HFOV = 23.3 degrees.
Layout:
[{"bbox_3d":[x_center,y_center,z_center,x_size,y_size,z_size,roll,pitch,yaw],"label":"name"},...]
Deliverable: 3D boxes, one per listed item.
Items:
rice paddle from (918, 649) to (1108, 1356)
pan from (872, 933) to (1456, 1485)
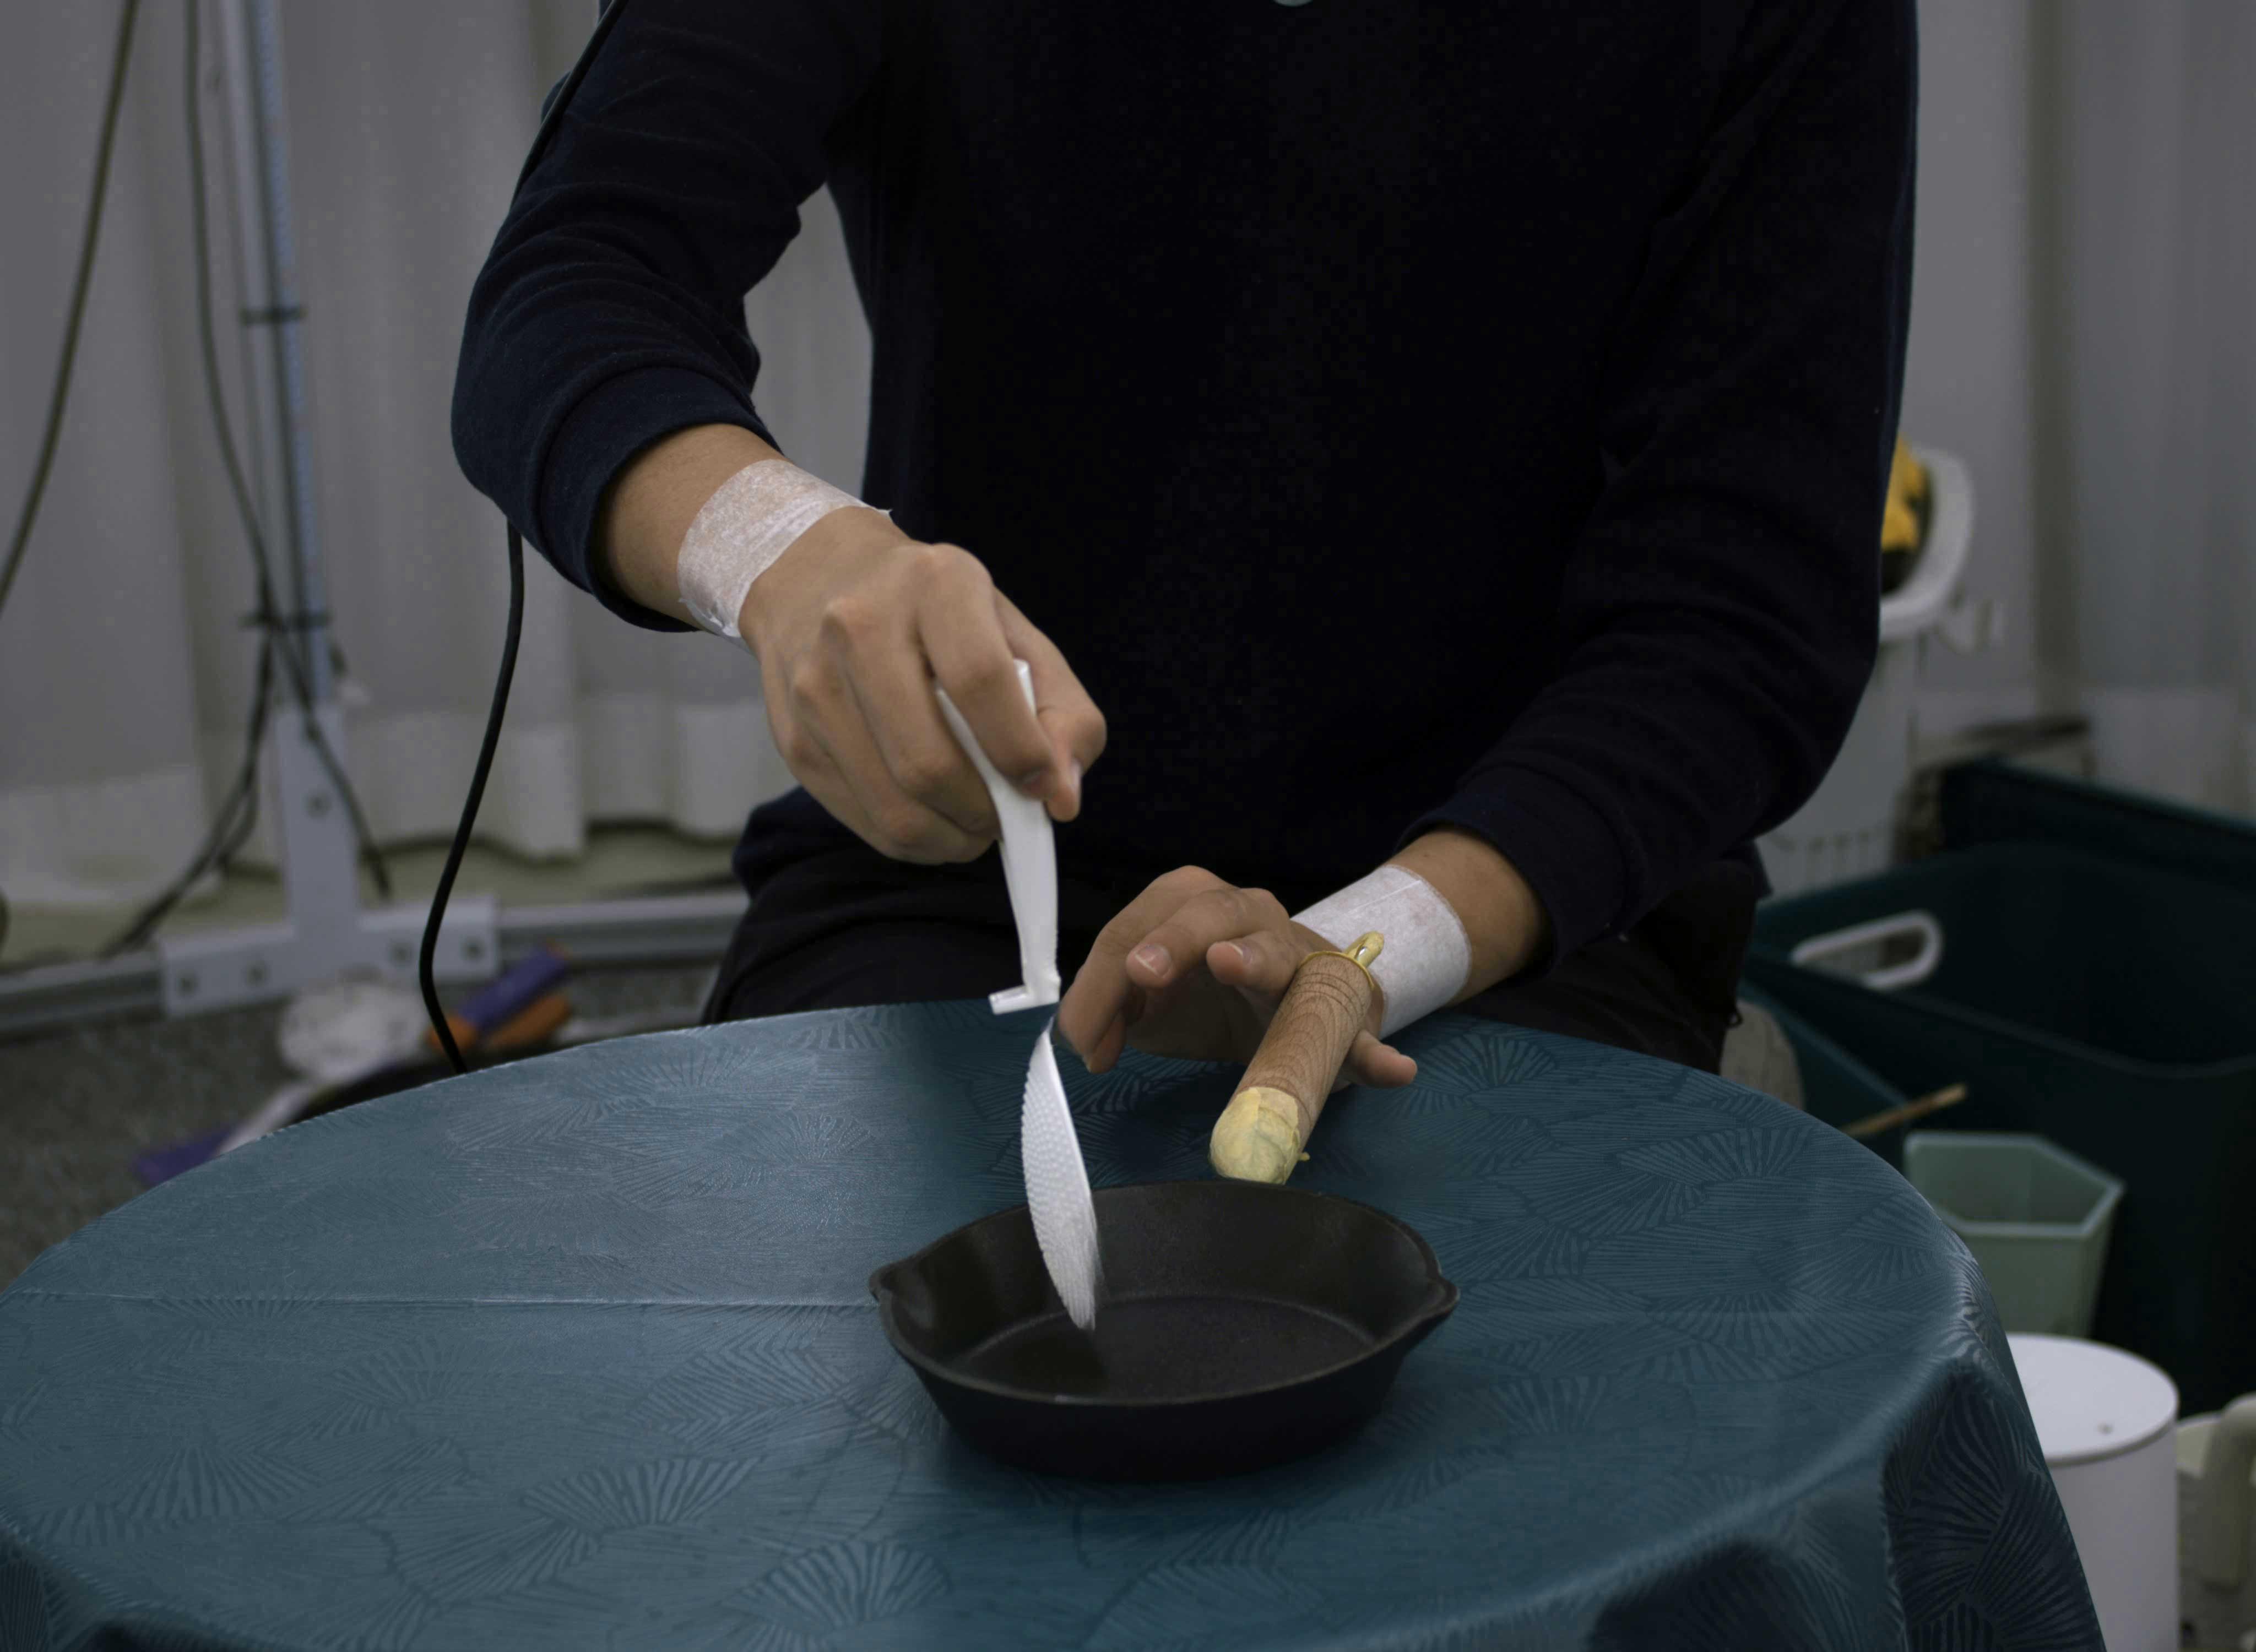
[{"bbox_3d":[-0.024,0.052,1.532,0.029,0.204,0.069,-12,13,-4],"label":"rice paddle"},{"bbox_3d":[0.033,0.109,1.605,0.169,0.049,0.326,1,20,17],"label":"pan"}]
